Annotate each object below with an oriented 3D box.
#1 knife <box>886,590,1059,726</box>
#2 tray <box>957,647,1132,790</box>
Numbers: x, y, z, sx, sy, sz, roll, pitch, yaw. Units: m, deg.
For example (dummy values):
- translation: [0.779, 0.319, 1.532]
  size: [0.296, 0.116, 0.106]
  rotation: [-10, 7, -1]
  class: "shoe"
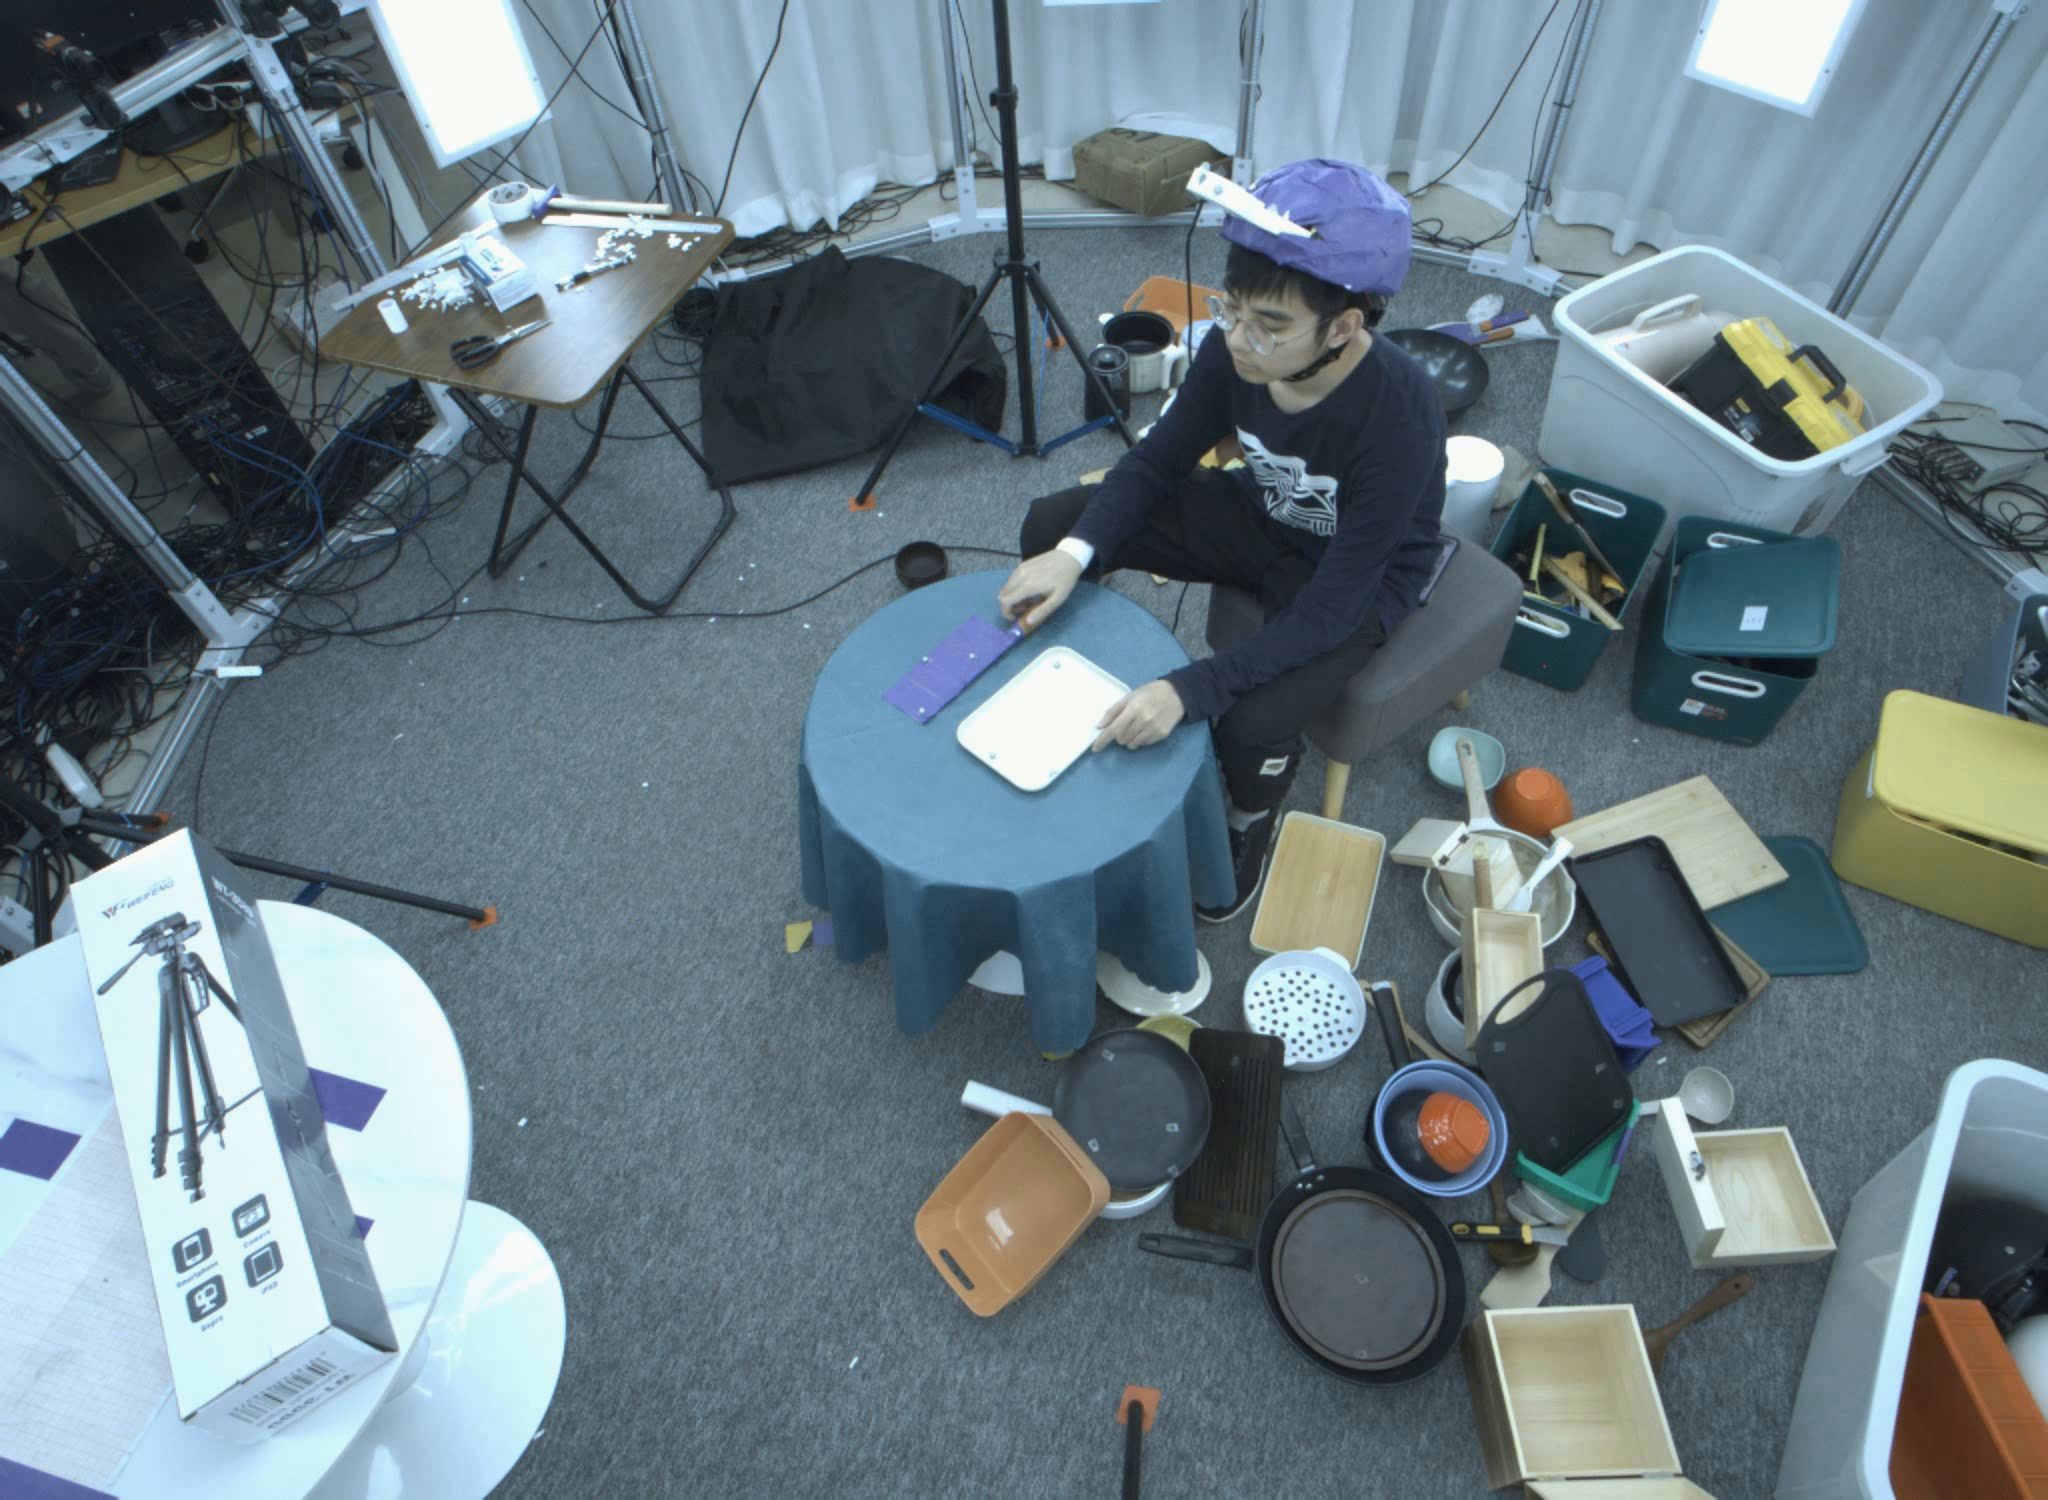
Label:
- translation: [-0.080, -0.161, 1.895]
  size: [0.102, 0.032, 0.317]
  rotation: [35, 63, 23]
  class: "knife"
- translation: [0.031, -0.049, 1.818]
  size: [0.168, 0.017, 0.241]
  rotation: [36, 63, 24]
  class: "tray"
